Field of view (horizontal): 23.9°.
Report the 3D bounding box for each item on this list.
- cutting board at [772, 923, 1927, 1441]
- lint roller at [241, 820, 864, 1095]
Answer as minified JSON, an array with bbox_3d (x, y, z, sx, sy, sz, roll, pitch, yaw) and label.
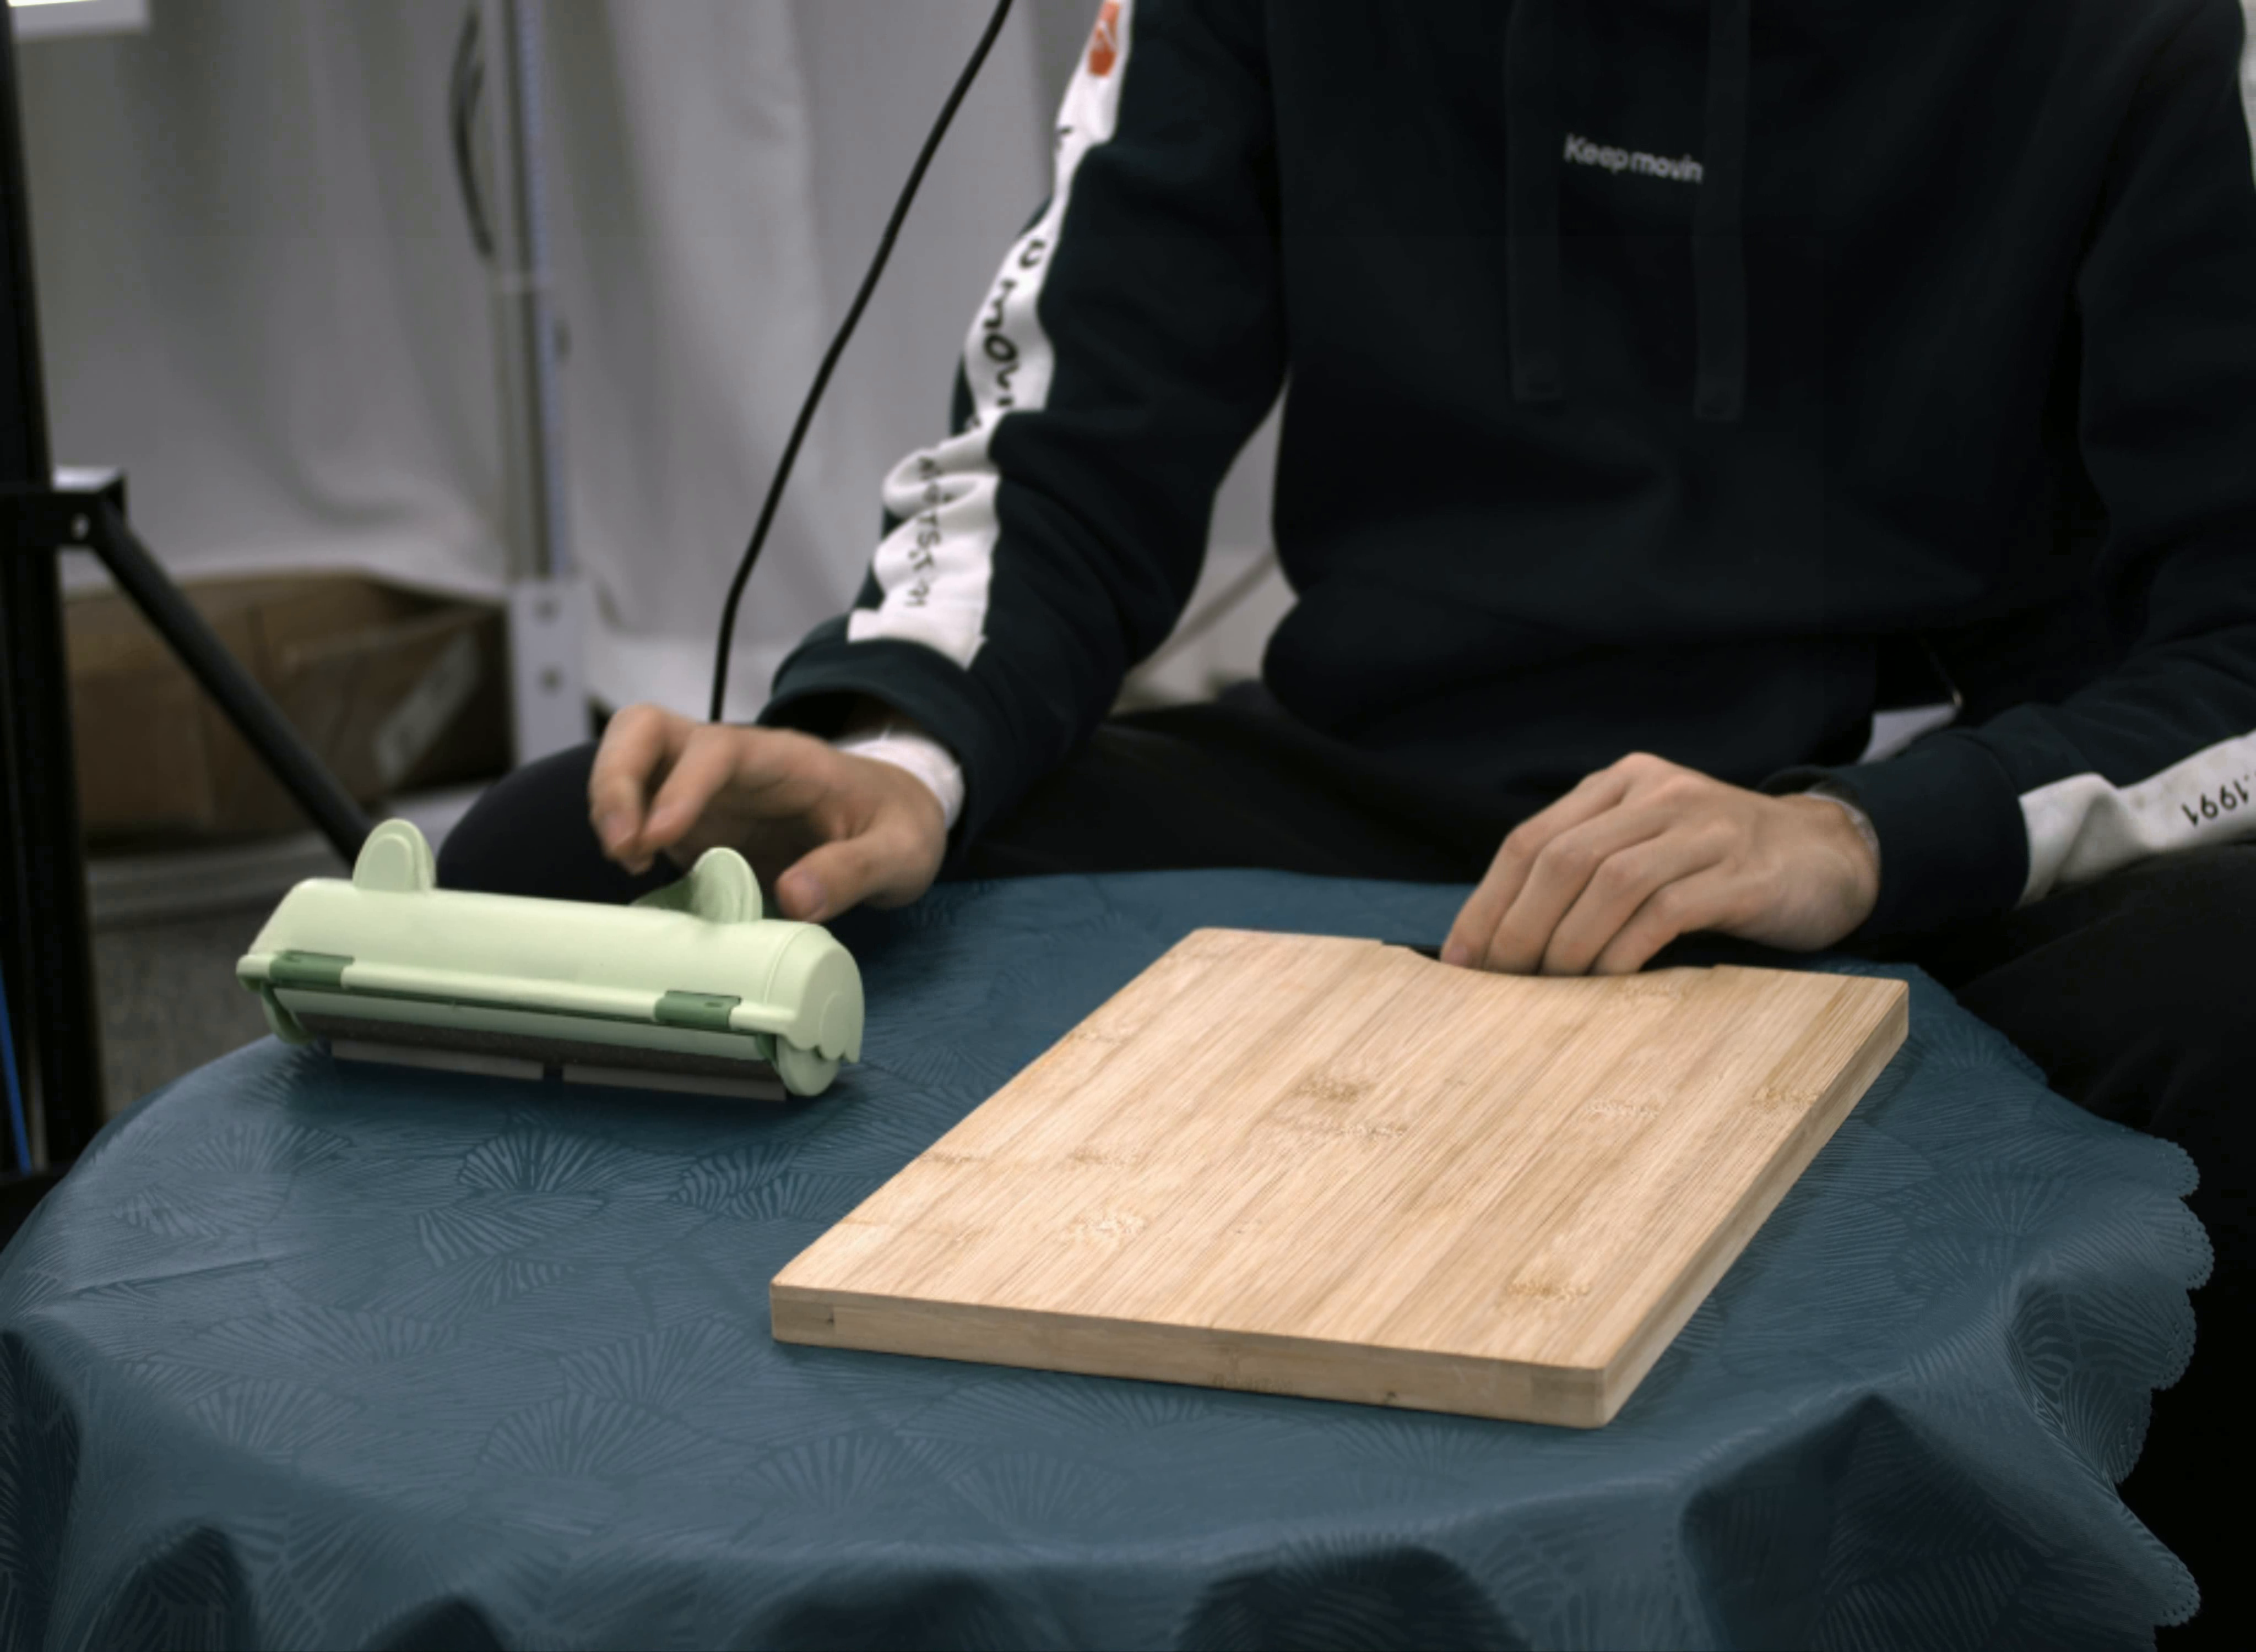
[{"bbox_3d":[0.076,0.096,1.560,0.254,0.023,0.344,4,17,21],"label":"cutting board"},{"bbox_3d":[-0.160,0.026,1.727,0.201,0.082,0.181,4,21,24],"label":"lint roller"}]
